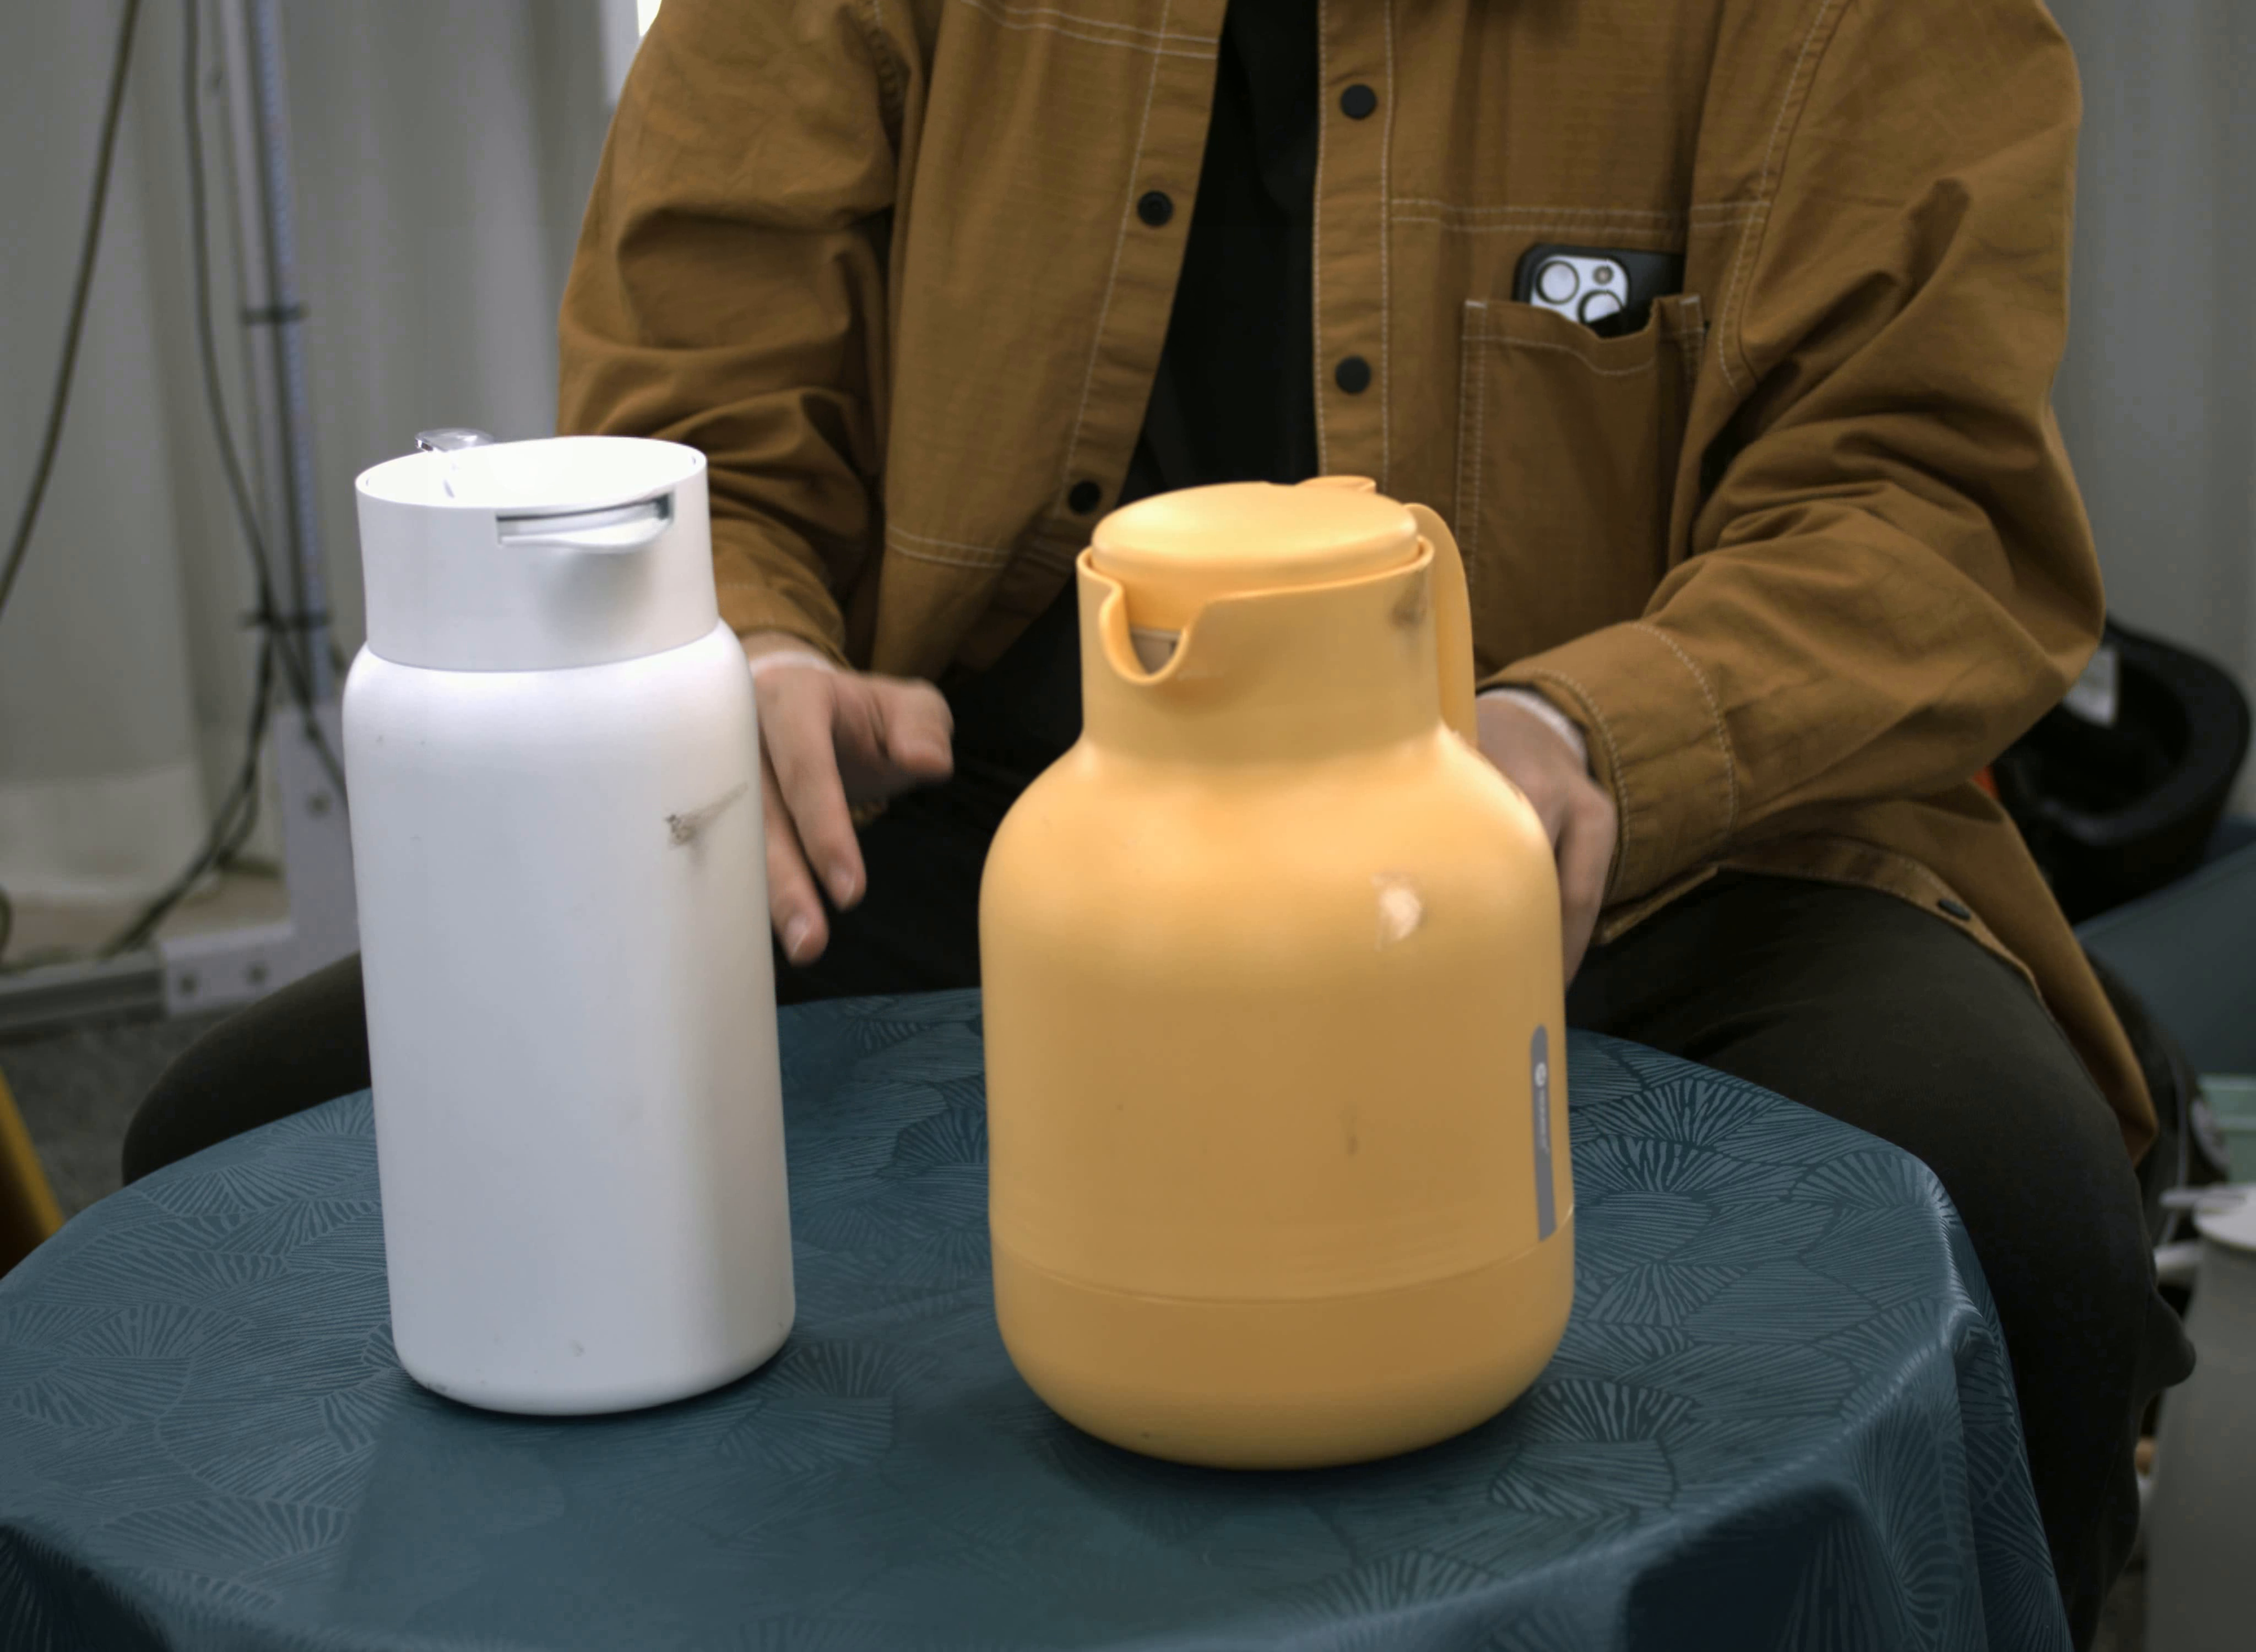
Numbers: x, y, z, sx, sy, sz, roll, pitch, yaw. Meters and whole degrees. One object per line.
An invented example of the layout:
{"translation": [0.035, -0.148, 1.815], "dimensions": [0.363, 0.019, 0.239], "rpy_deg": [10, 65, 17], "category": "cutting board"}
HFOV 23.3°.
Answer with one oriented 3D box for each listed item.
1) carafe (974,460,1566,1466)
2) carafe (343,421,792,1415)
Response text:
{"translation": [0.048, 0.029, 1.517], "dimensions": [0.164, 0.259, 0.203], "rpy_deg": [8, 19, 27], "category": "carafe"}
{"translation": [-0.170, 0.023, 1.577], "dimensions": [0.123, 0.268, 0.174], "rpy_deg": [-12, 16, -26], "category": "carafe"}
